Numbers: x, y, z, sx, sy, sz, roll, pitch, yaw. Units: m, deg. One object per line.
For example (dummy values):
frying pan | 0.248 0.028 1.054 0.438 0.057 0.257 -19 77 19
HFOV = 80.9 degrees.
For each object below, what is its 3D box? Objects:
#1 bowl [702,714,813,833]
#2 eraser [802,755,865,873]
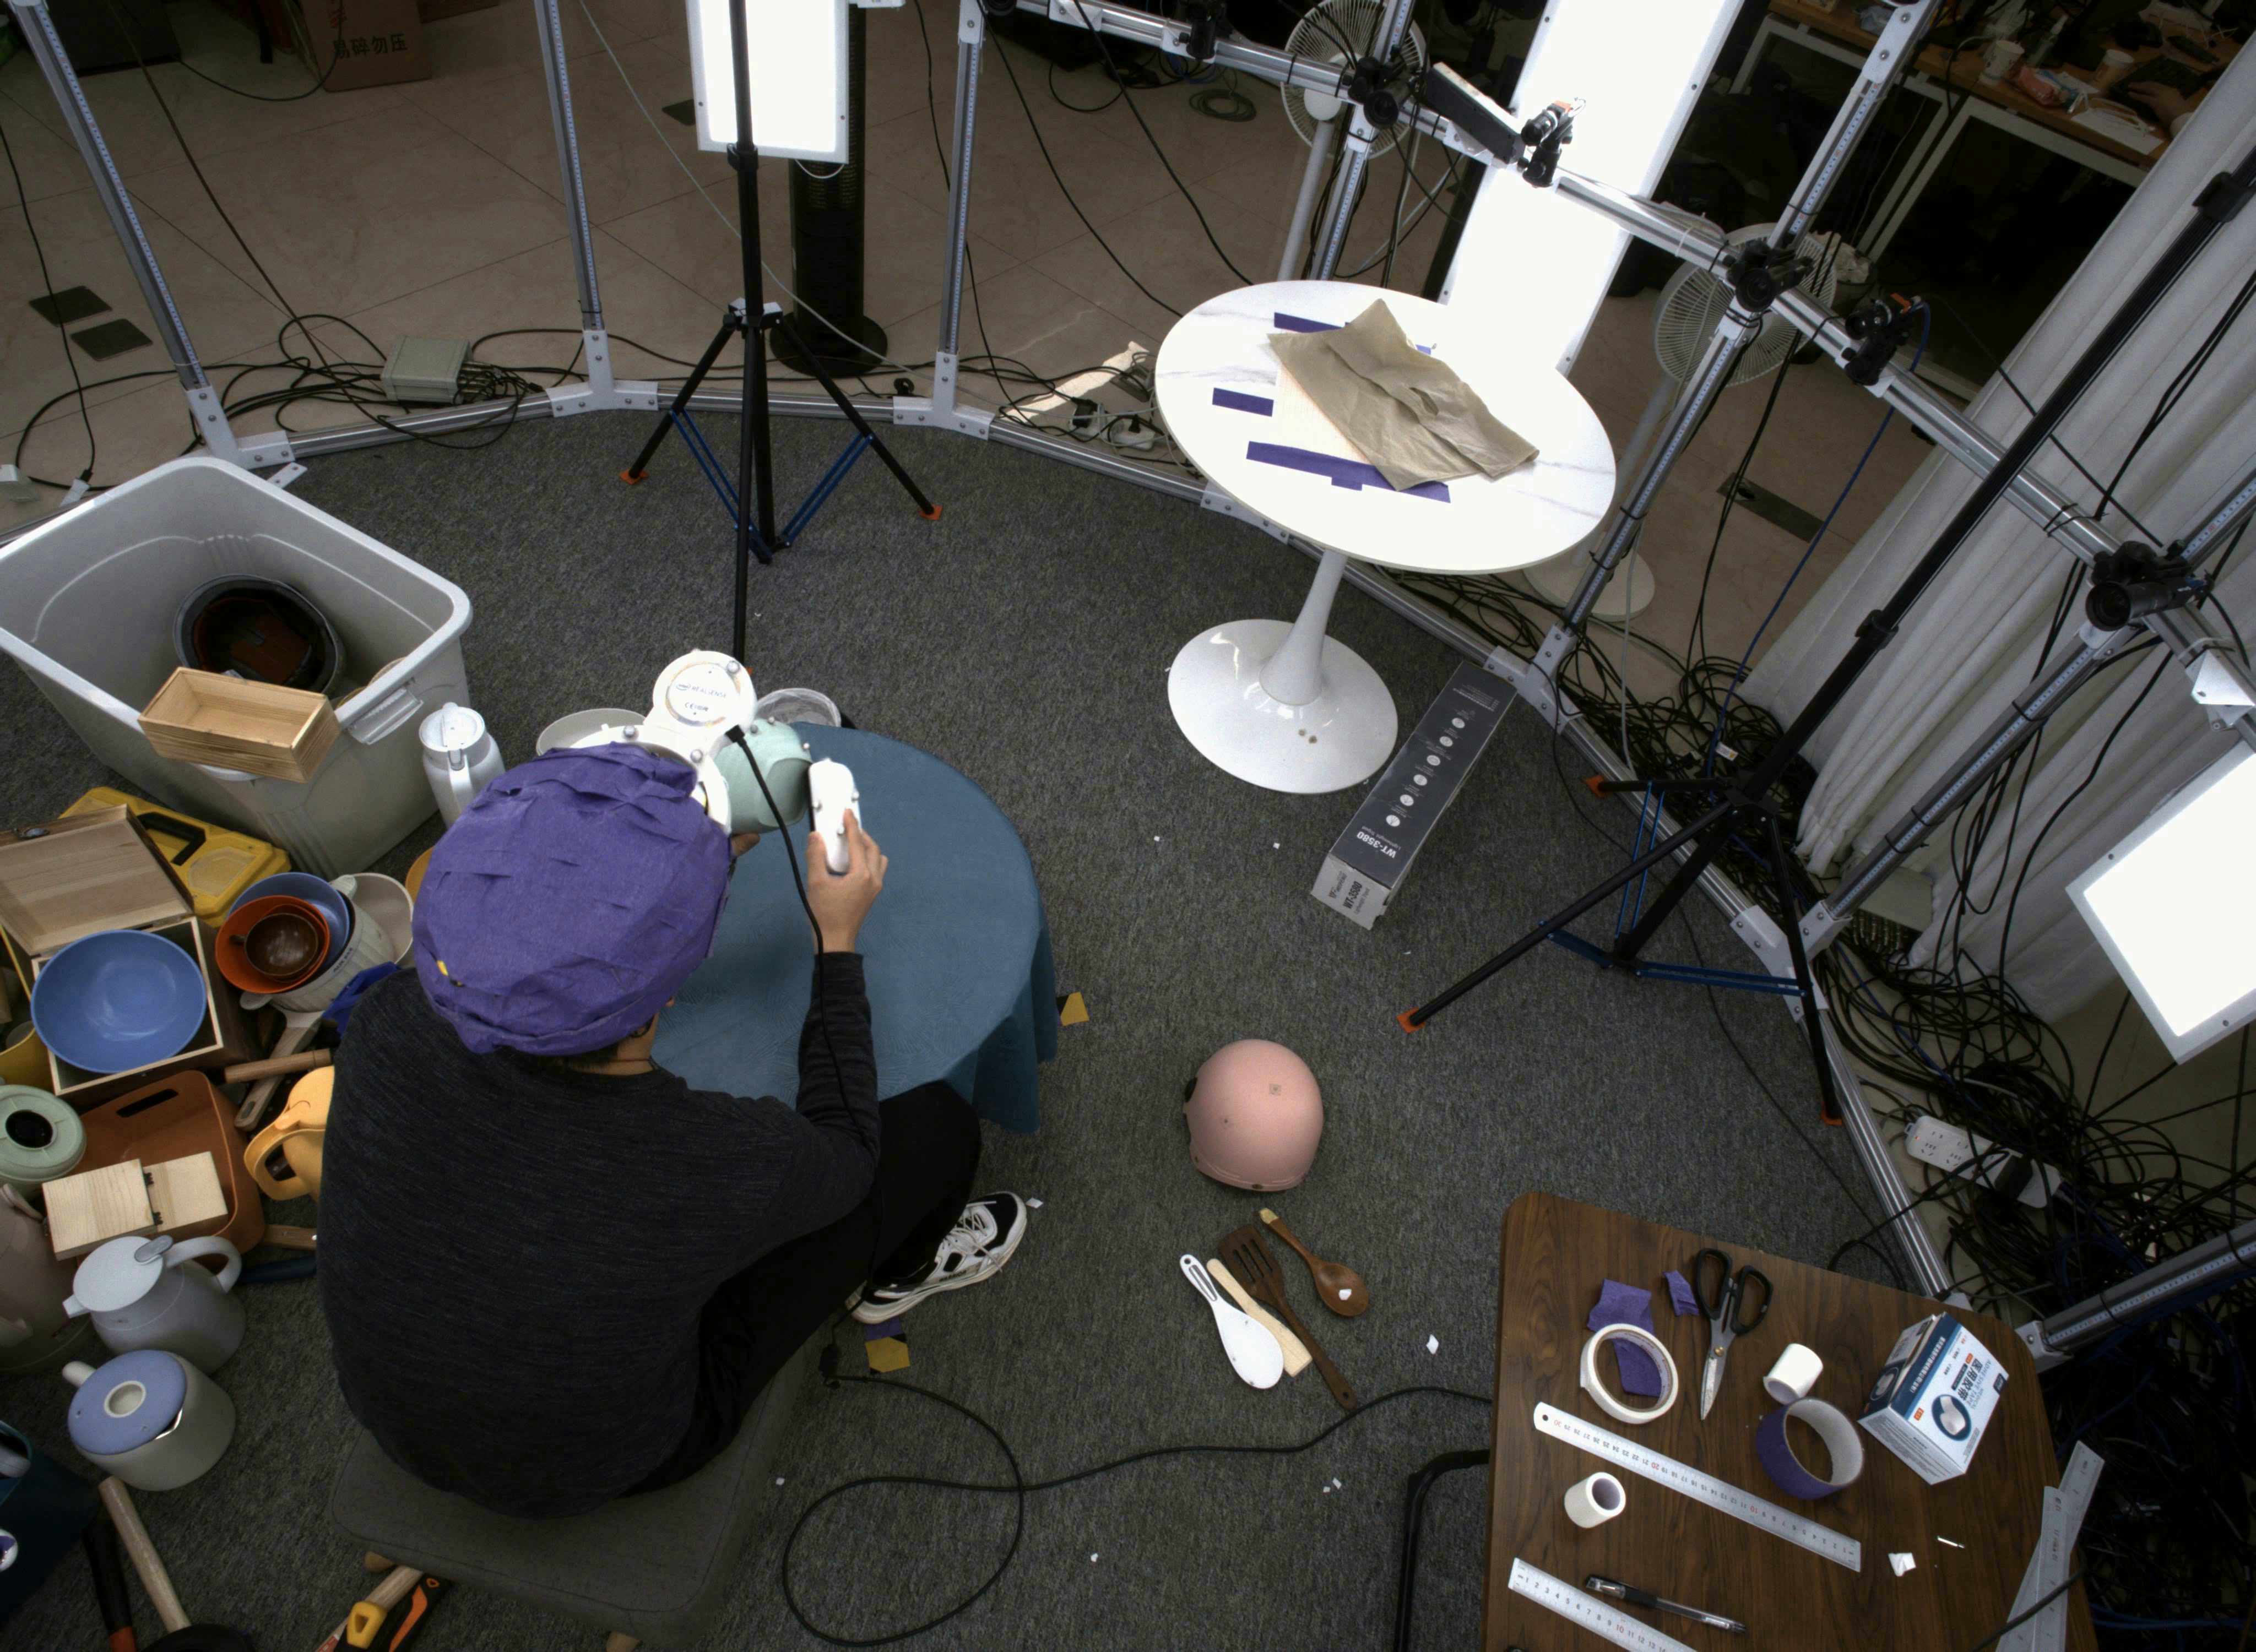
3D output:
bowl | -0.408 -0.052 1.465 0.057 0.156 0.151 23 49 25
eraser | -0.334 -0.014 1.473 0.065 0.034 0.131 11 66 -62
